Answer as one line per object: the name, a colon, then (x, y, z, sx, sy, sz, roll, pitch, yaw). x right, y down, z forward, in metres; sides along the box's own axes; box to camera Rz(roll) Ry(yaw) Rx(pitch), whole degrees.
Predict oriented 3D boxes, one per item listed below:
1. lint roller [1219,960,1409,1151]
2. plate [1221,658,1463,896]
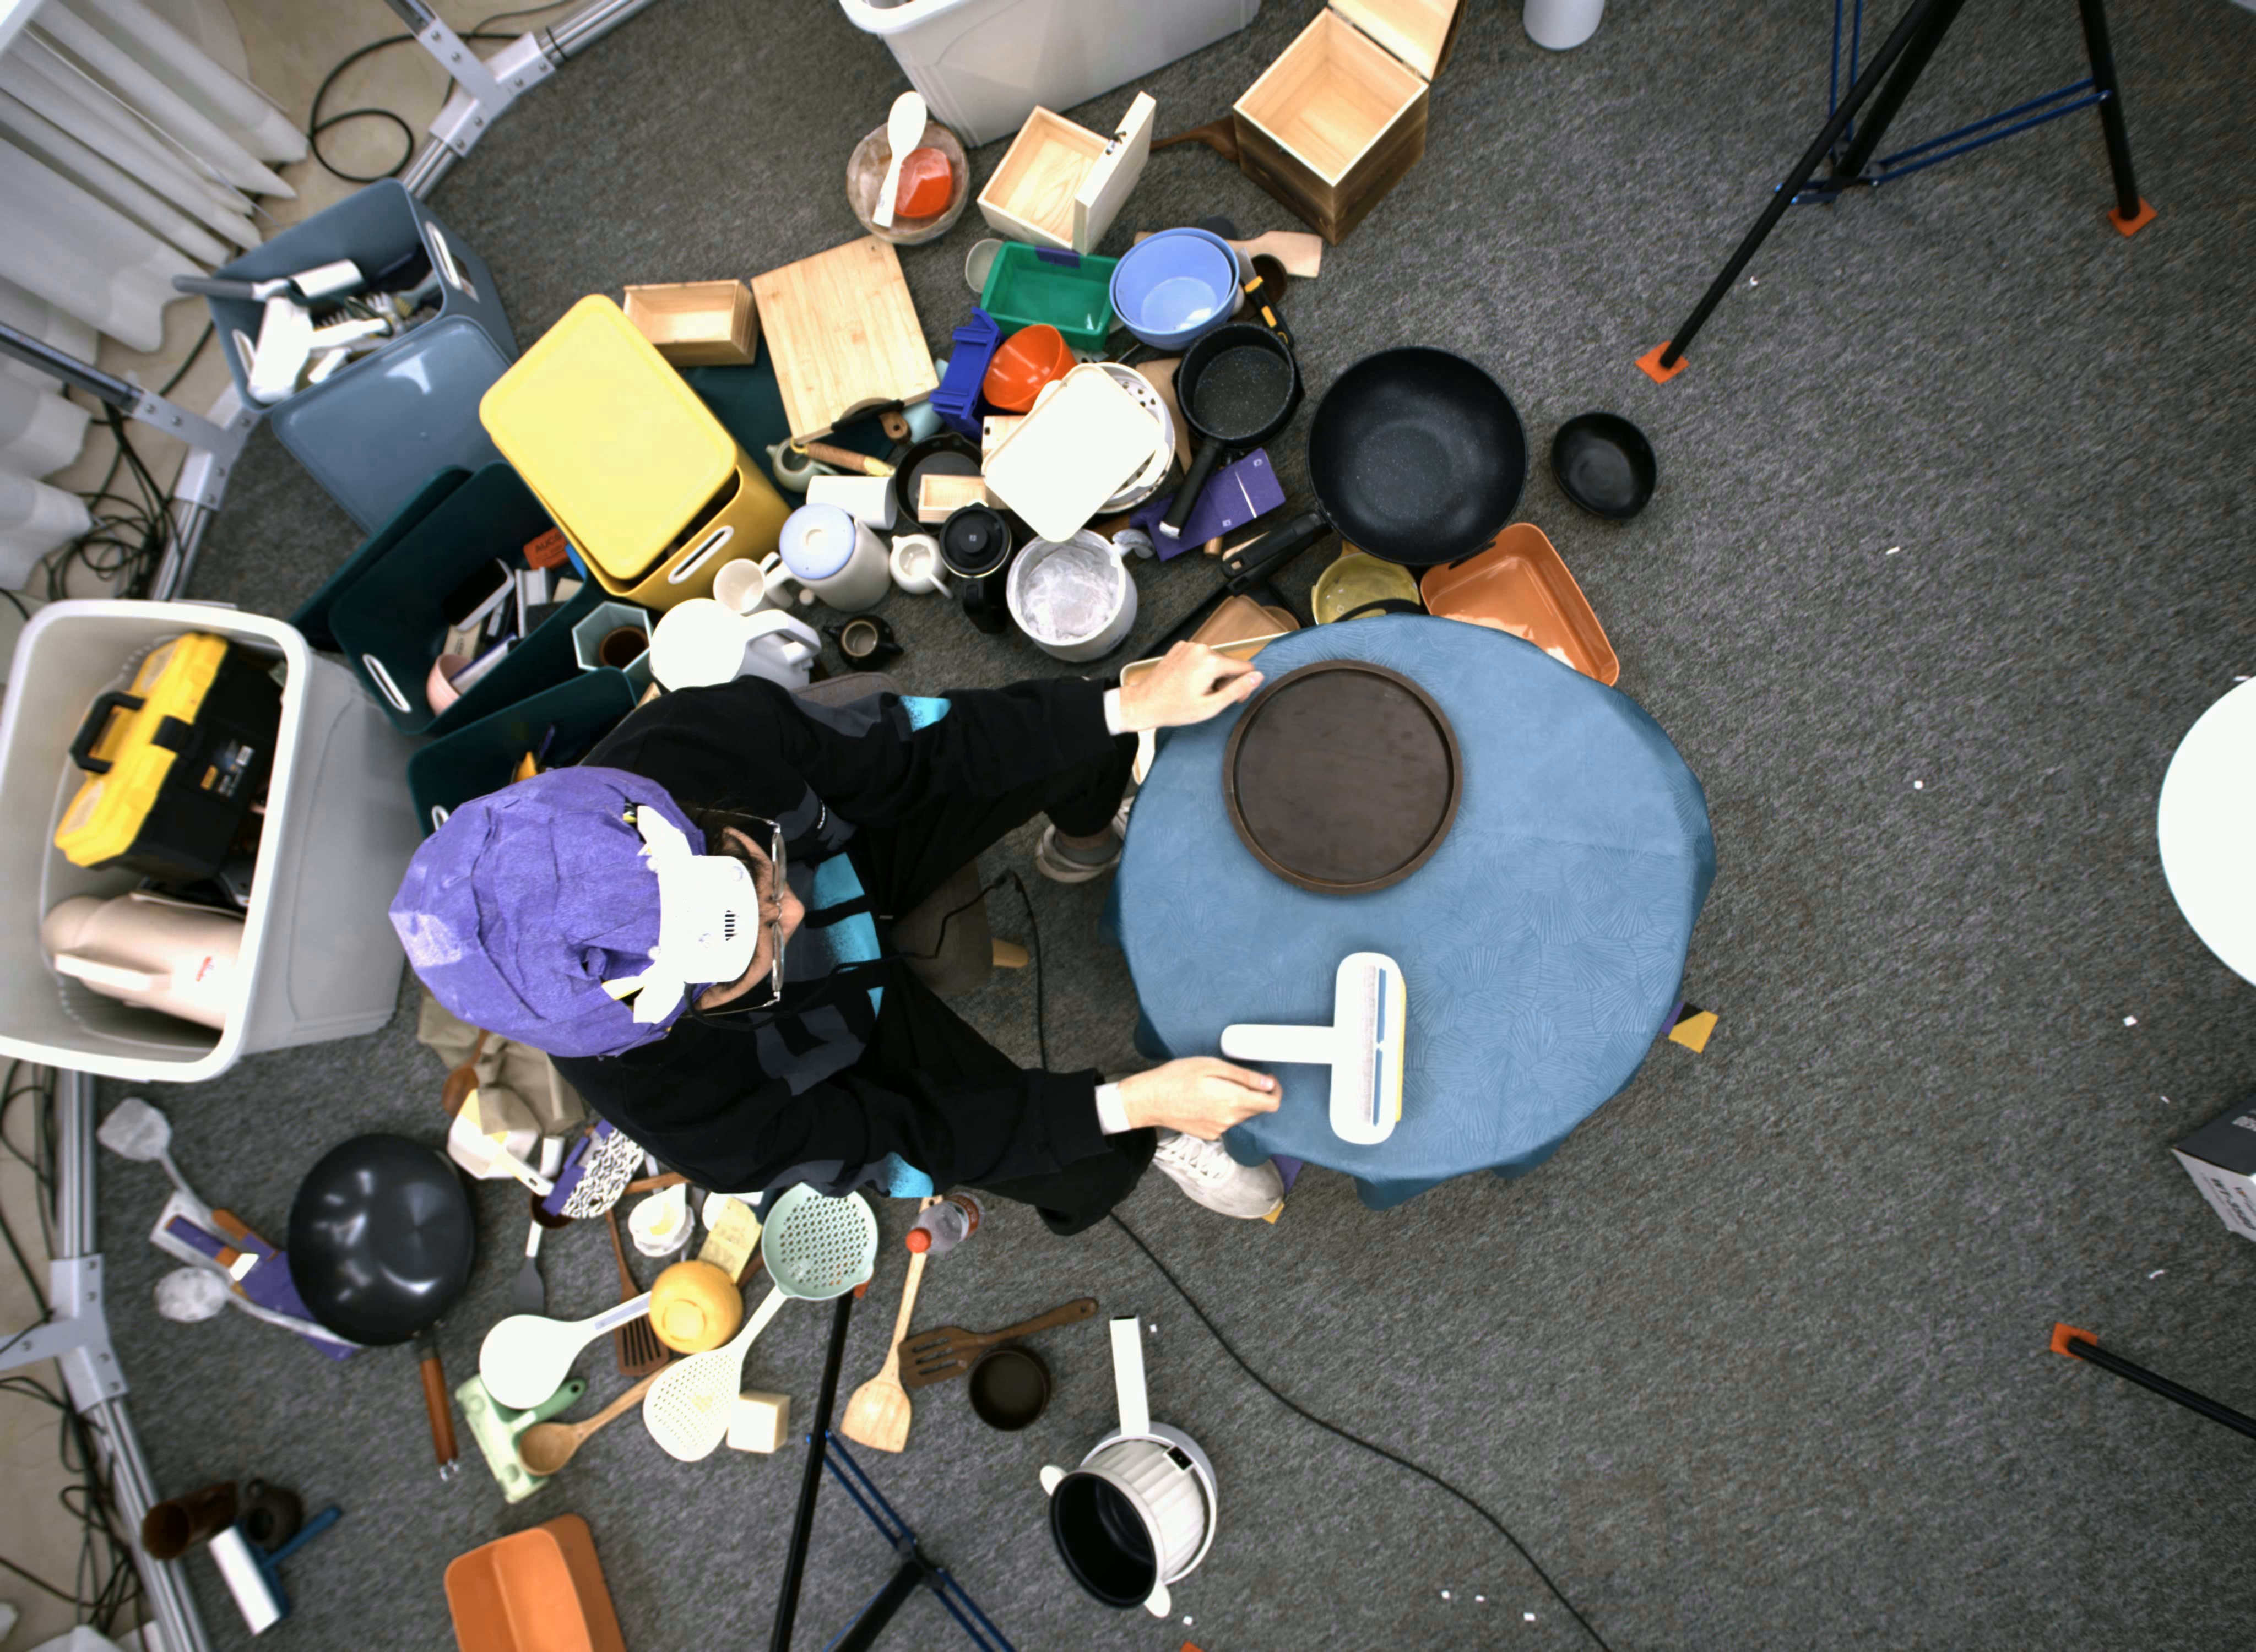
lint roller: (0.186, 0.227, 1.429, 0.193, 0.074, 0.191, 6, 83, 12)
plate: (0.225, -0.053, 1.458, 0.256, 0.029, 0.254, -1, 88, 11)
